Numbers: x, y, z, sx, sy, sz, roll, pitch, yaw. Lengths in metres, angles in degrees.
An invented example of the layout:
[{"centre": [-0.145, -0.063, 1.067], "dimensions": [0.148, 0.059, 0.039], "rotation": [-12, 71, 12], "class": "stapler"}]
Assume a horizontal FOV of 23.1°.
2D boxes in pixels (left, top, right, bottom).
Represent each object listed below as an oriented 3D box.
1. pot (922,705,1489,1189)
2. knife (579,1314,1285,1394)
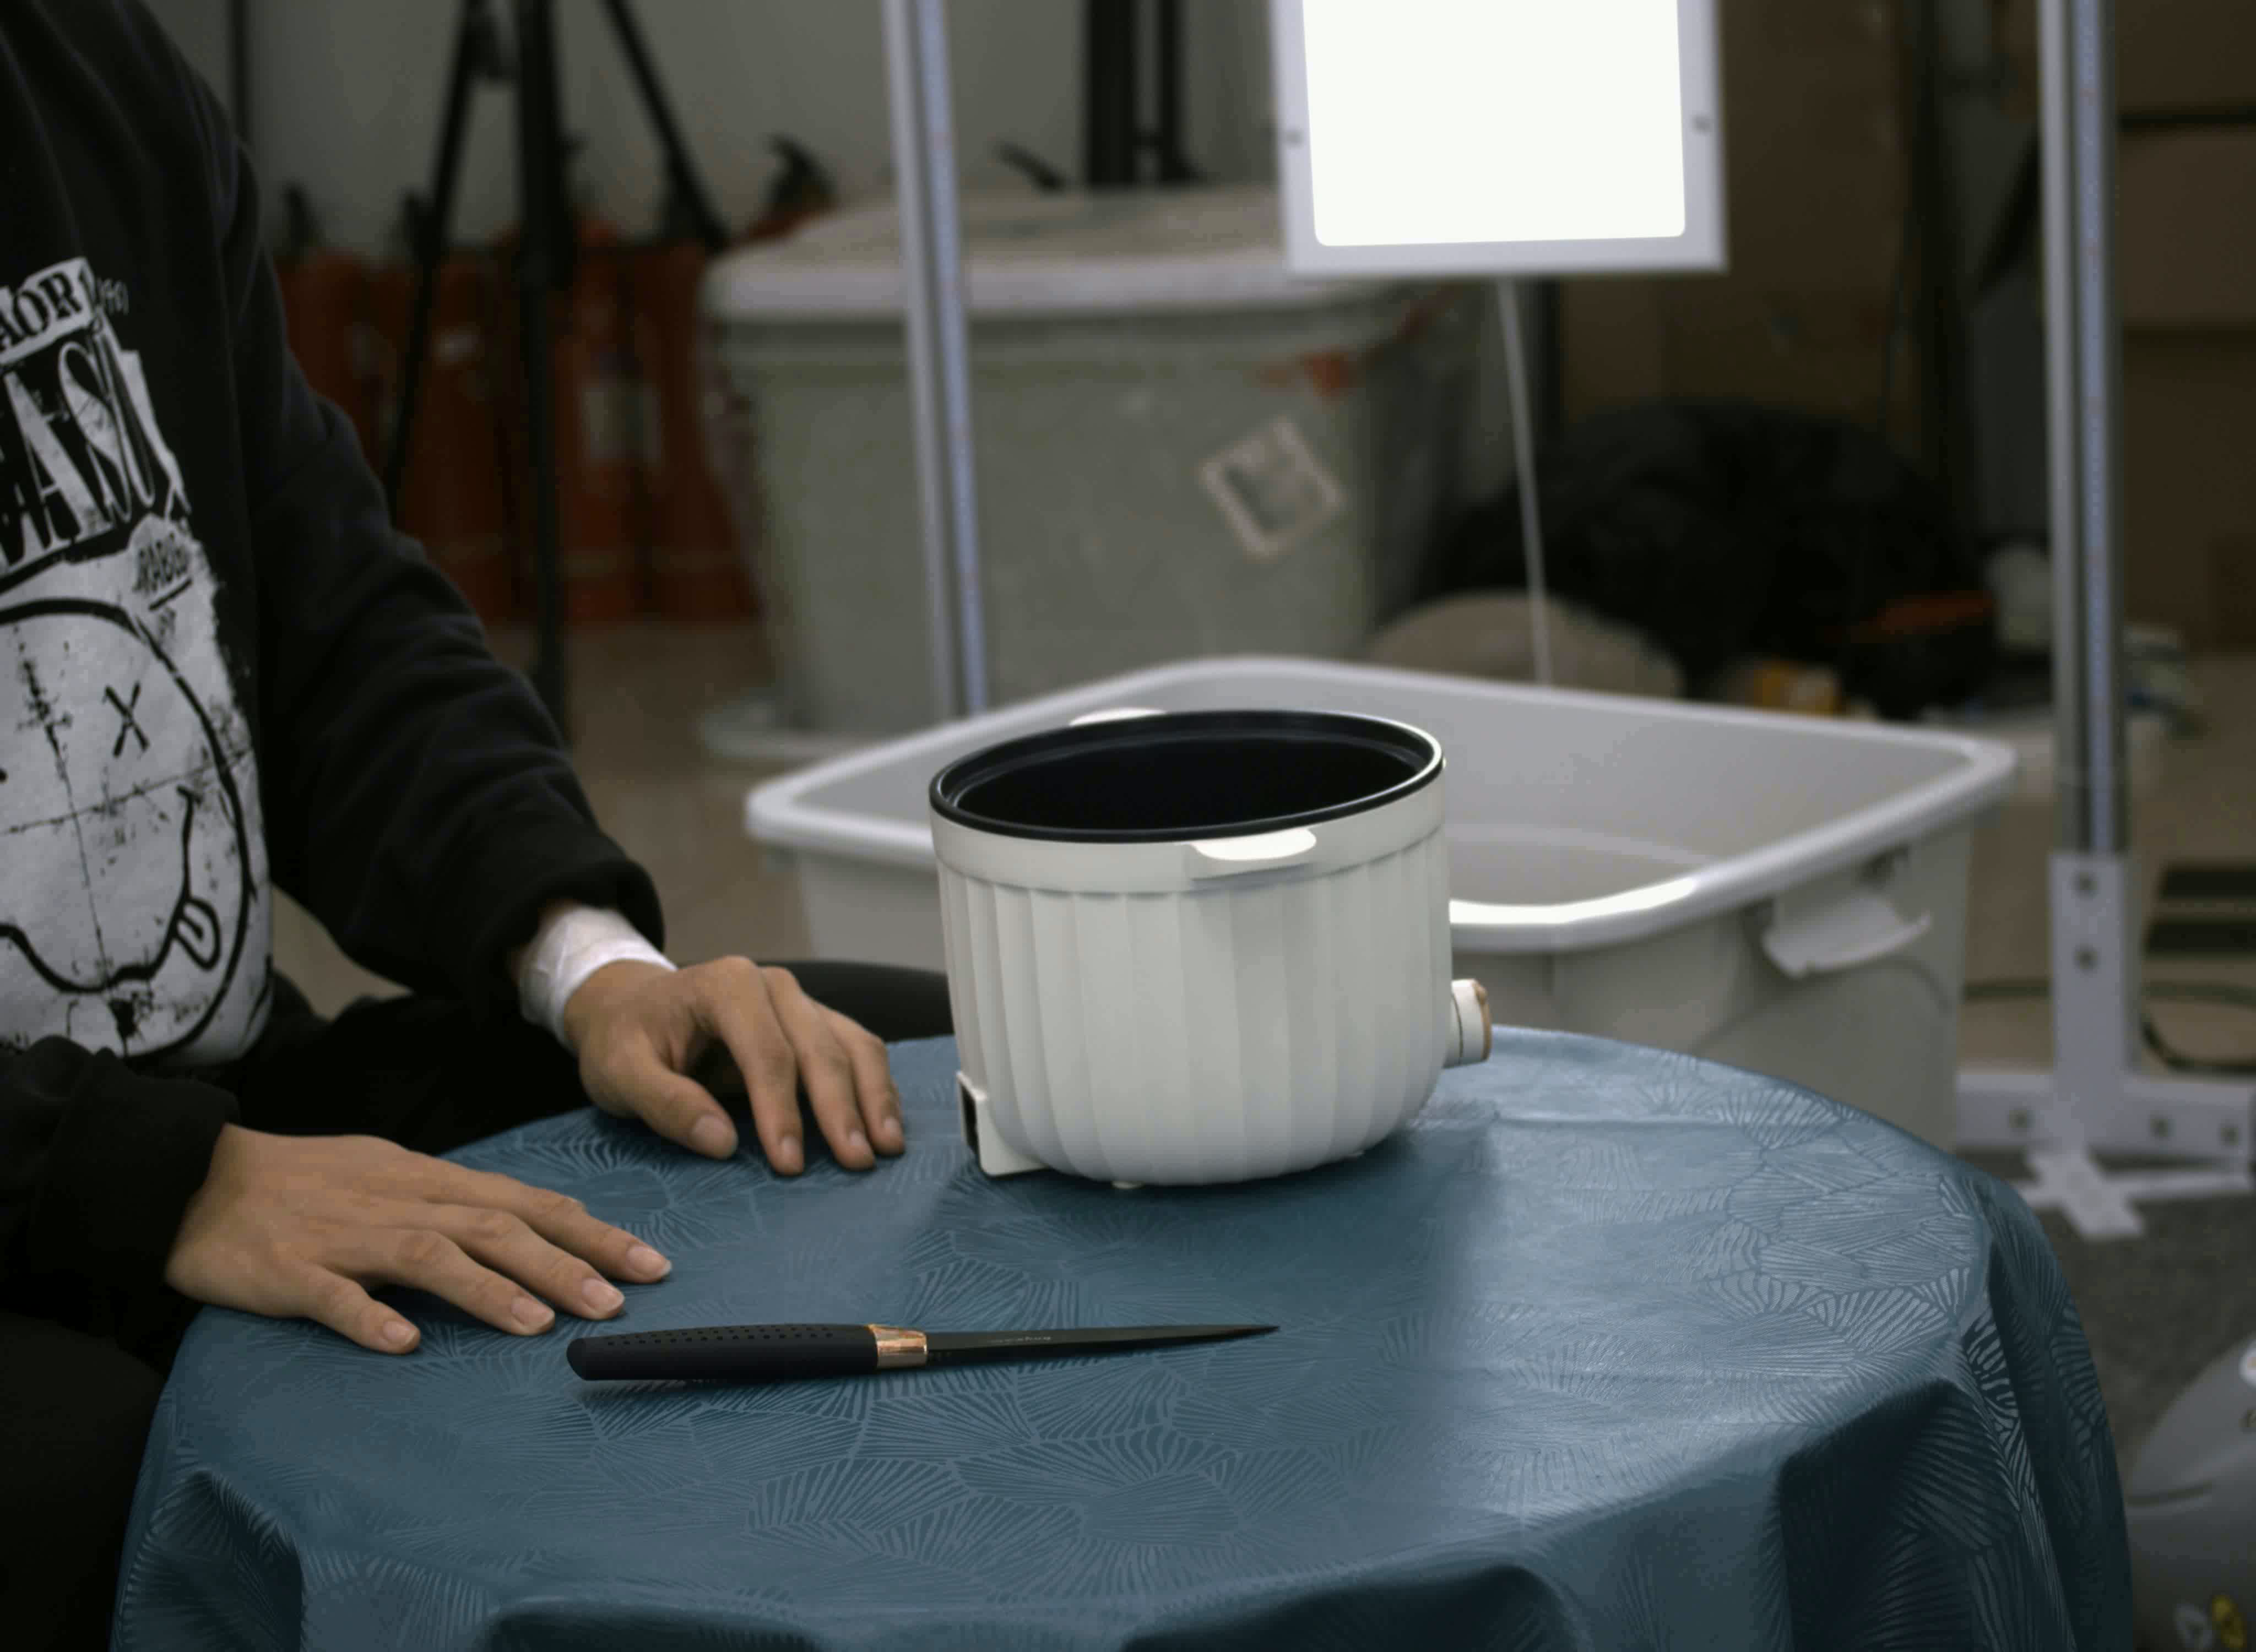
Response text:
[{"centre": [0.029, 0.043, 1.937], "dimensions": [0.188, 0.143, 0.242], "rotation": [-11, 16, -10], "class": "pot"}, {"centre": [-0.061, 0.165, 1.747], "dimensions": [0.225, 0.017, 0.026], "rotation": [-4, -1, 0], "class": "knife"}]
